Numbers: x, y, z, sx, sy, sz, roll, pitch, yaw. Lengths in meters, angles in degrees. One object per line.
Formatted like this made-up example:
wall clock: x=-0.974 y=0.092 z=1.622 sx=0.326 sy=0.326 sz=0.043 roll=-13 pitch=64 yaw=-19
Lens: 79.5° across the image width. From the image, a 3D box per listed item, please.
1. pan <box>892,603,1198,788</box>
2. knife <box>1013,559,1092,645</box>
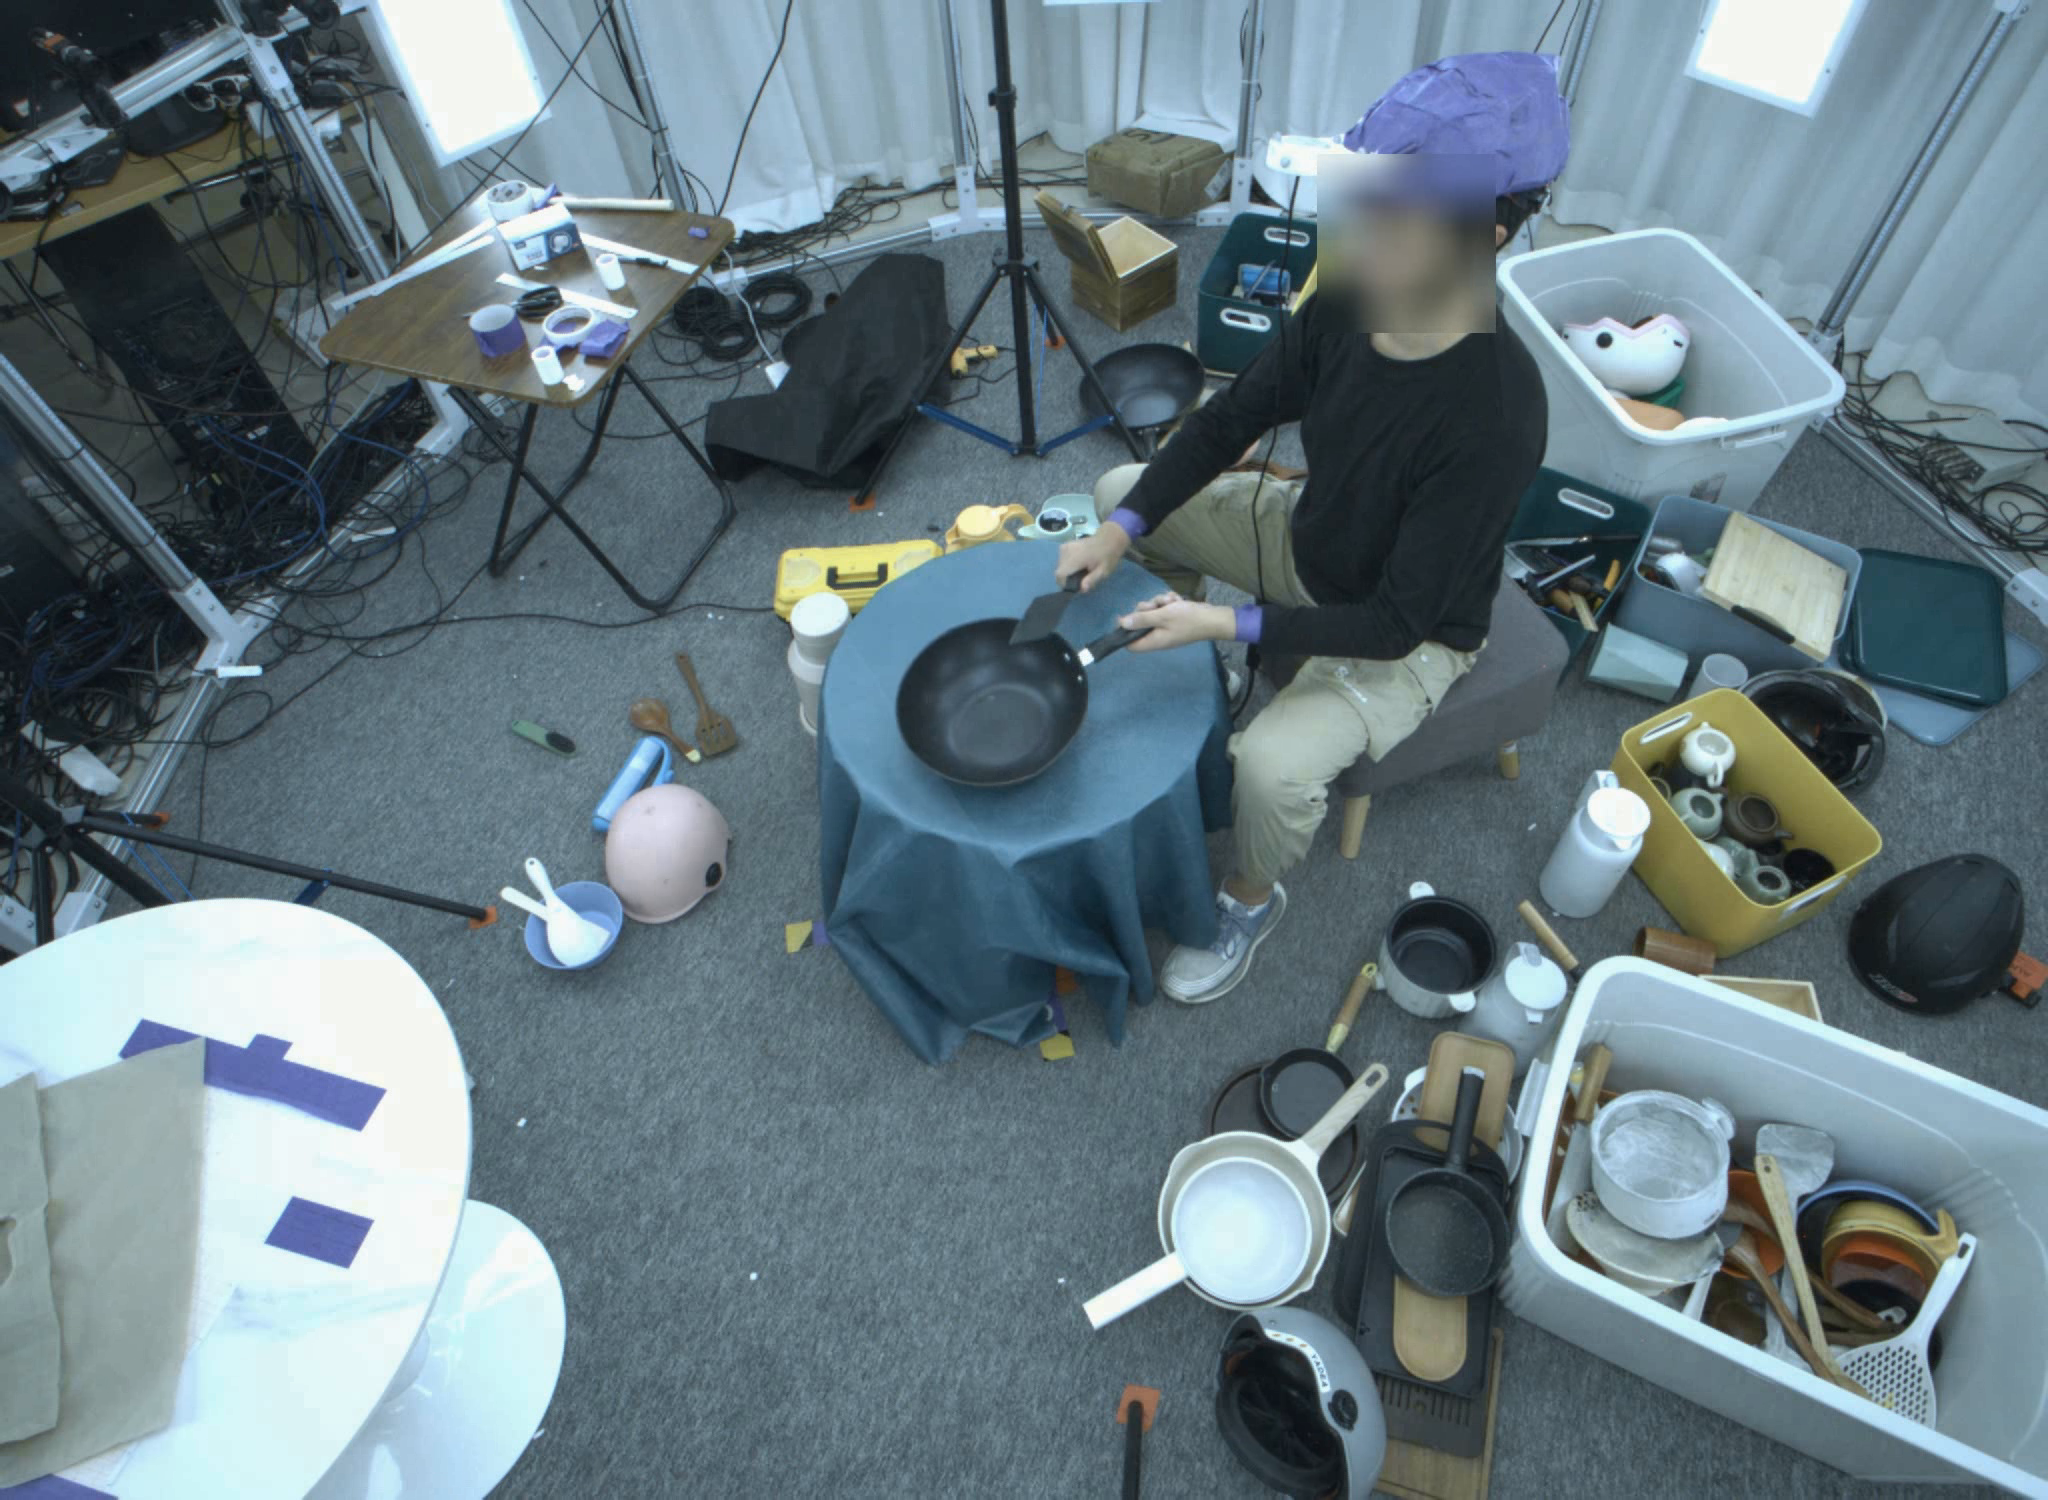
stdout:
pan: x=0.039 y=-0.094 z=1.773 sx=0.465 sy=0.088 sz=0.283 roll=-26 pitch=60 yaw=-7
knife: x=0.047 y=-0.219 z=1.799 sx=0.080 sy=0.021 sz=0.303 roll=-6 pitch=27 yaw=23
